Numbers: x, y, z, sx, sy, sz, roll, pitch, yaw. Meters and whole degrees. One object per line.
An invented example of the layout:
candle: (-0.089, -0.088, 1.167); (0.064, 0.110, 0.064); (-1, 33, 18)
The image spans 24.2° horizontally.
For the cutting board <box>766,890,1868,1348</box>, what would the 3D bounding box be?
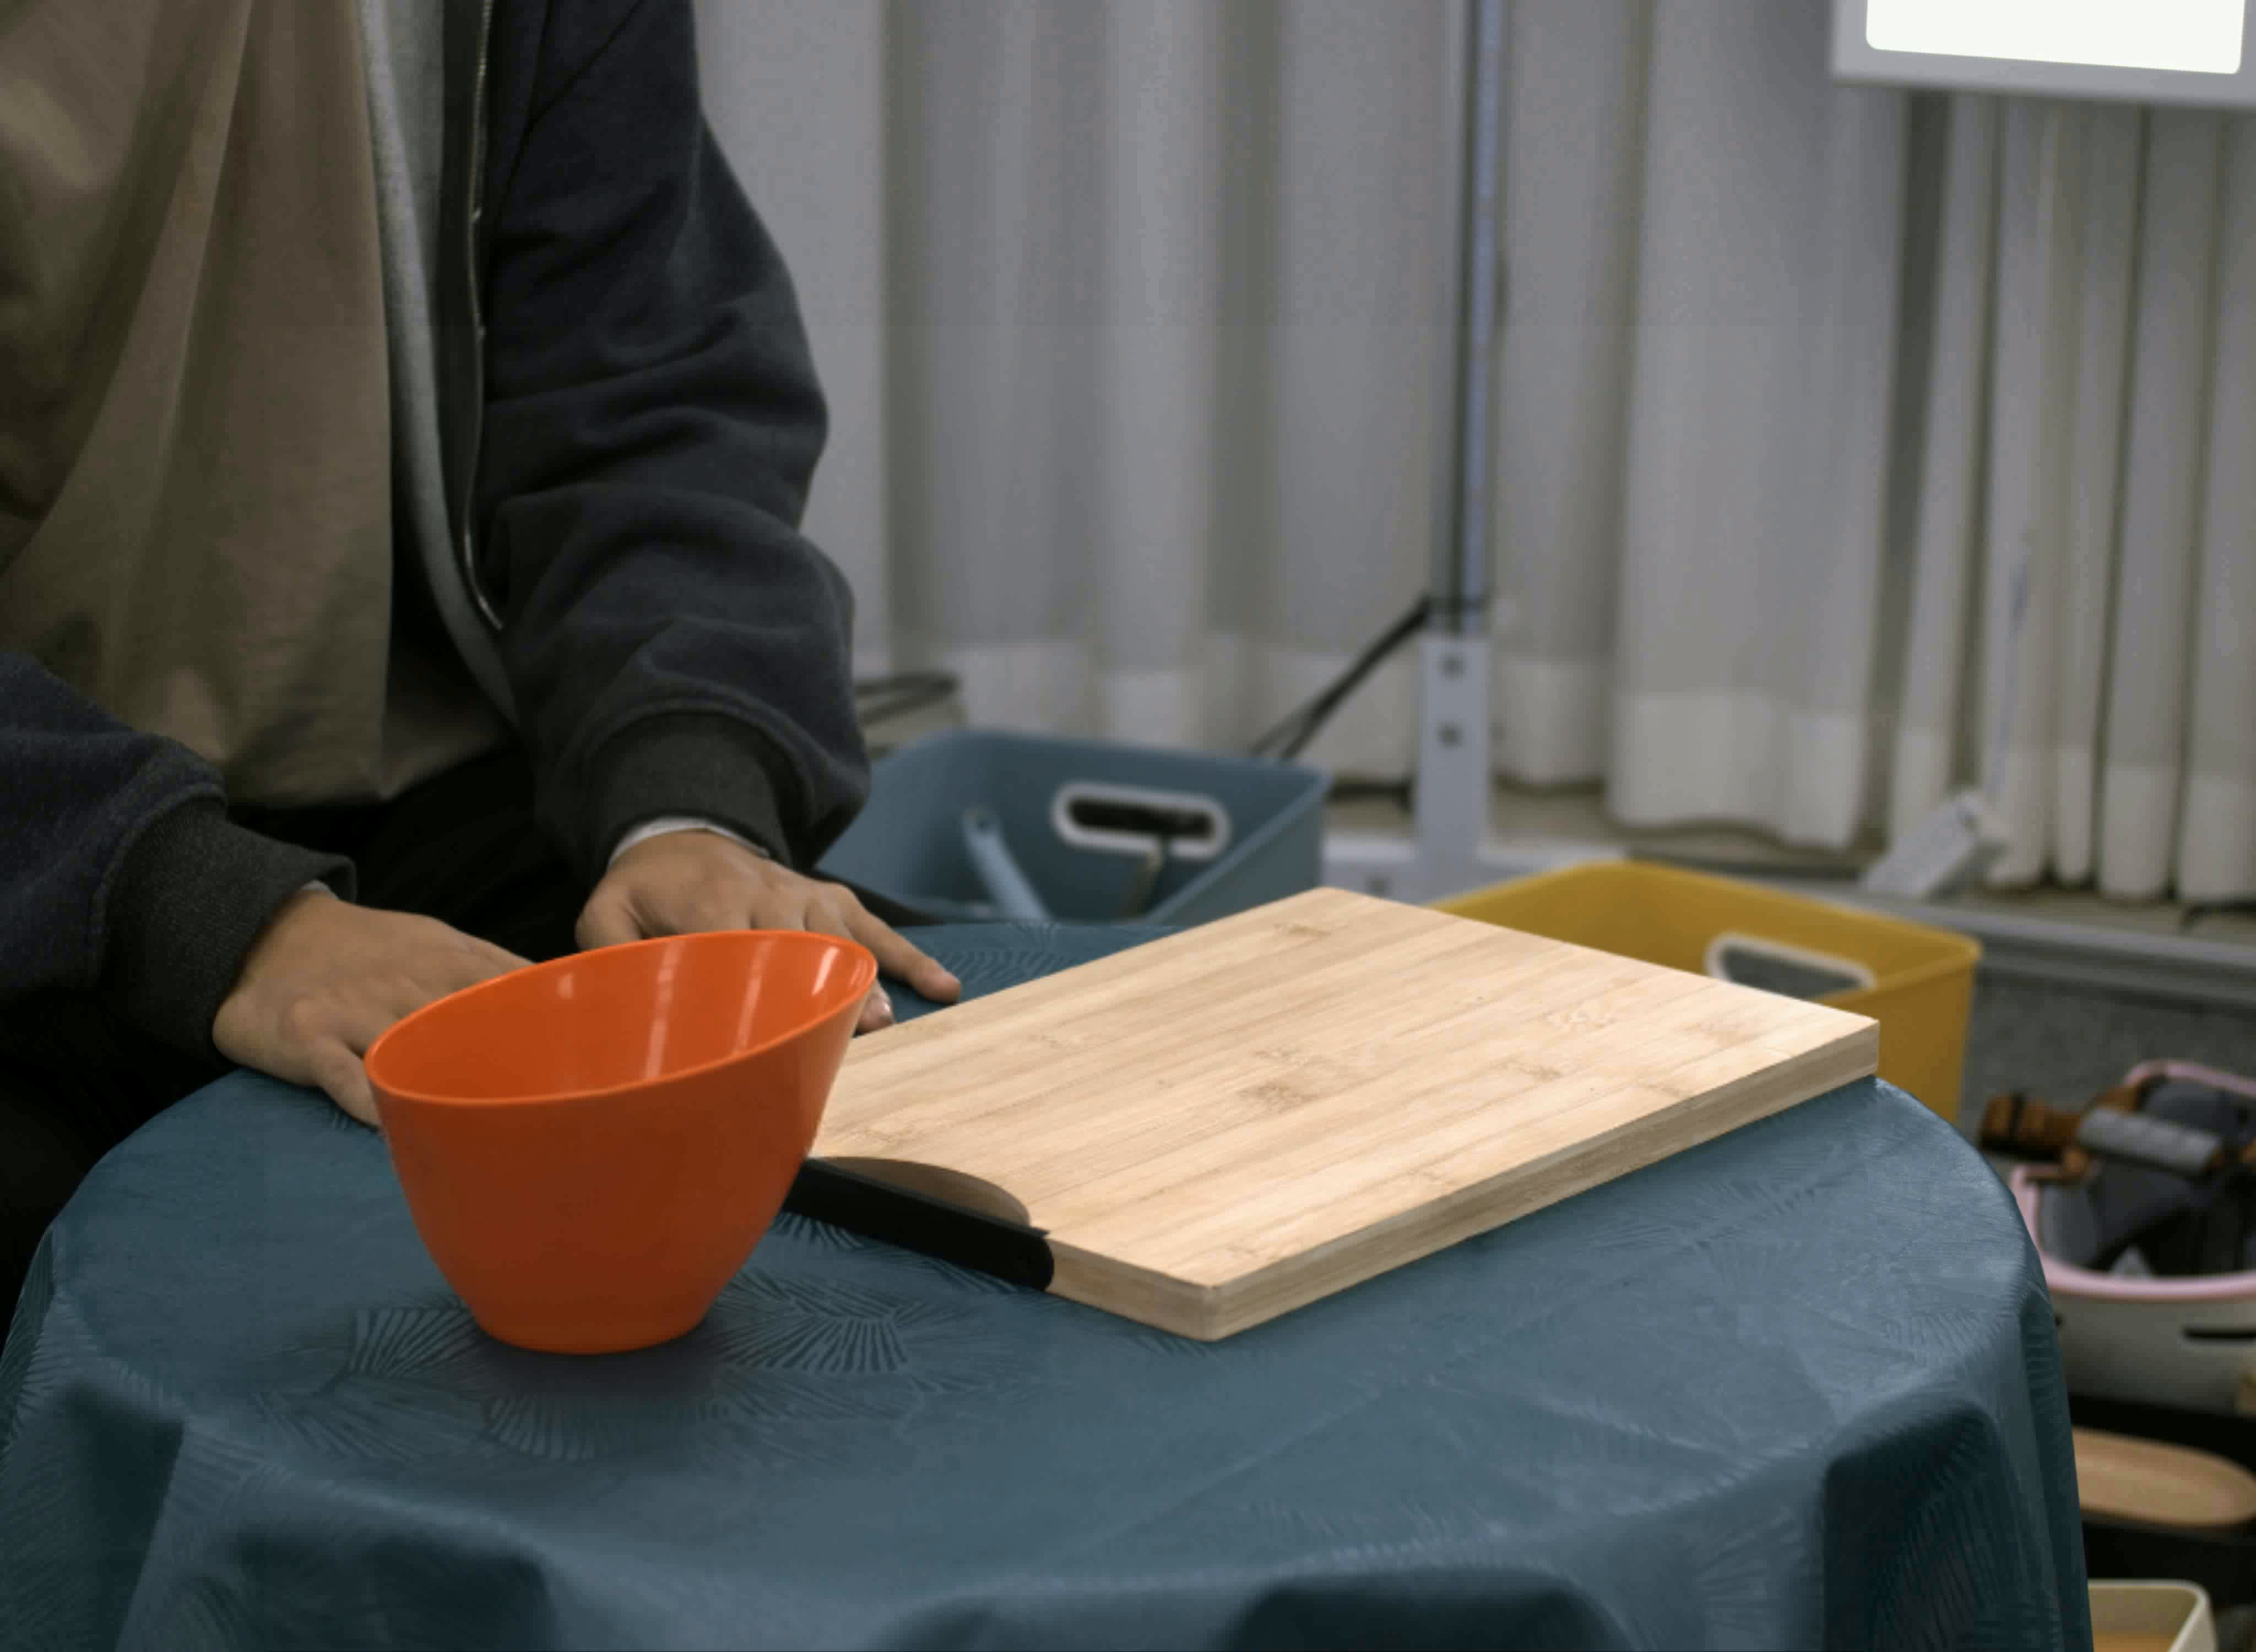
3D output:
cutting board: (0.042, 0.087, 1.687); (0.247, 0.024, 0.350); (13, 19, 39)

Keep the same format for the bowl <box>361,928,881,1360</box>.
bowl: (-0.144, 0.092, 1.499); (0.147, 0.105, 0.147); (1, 17, 0)
